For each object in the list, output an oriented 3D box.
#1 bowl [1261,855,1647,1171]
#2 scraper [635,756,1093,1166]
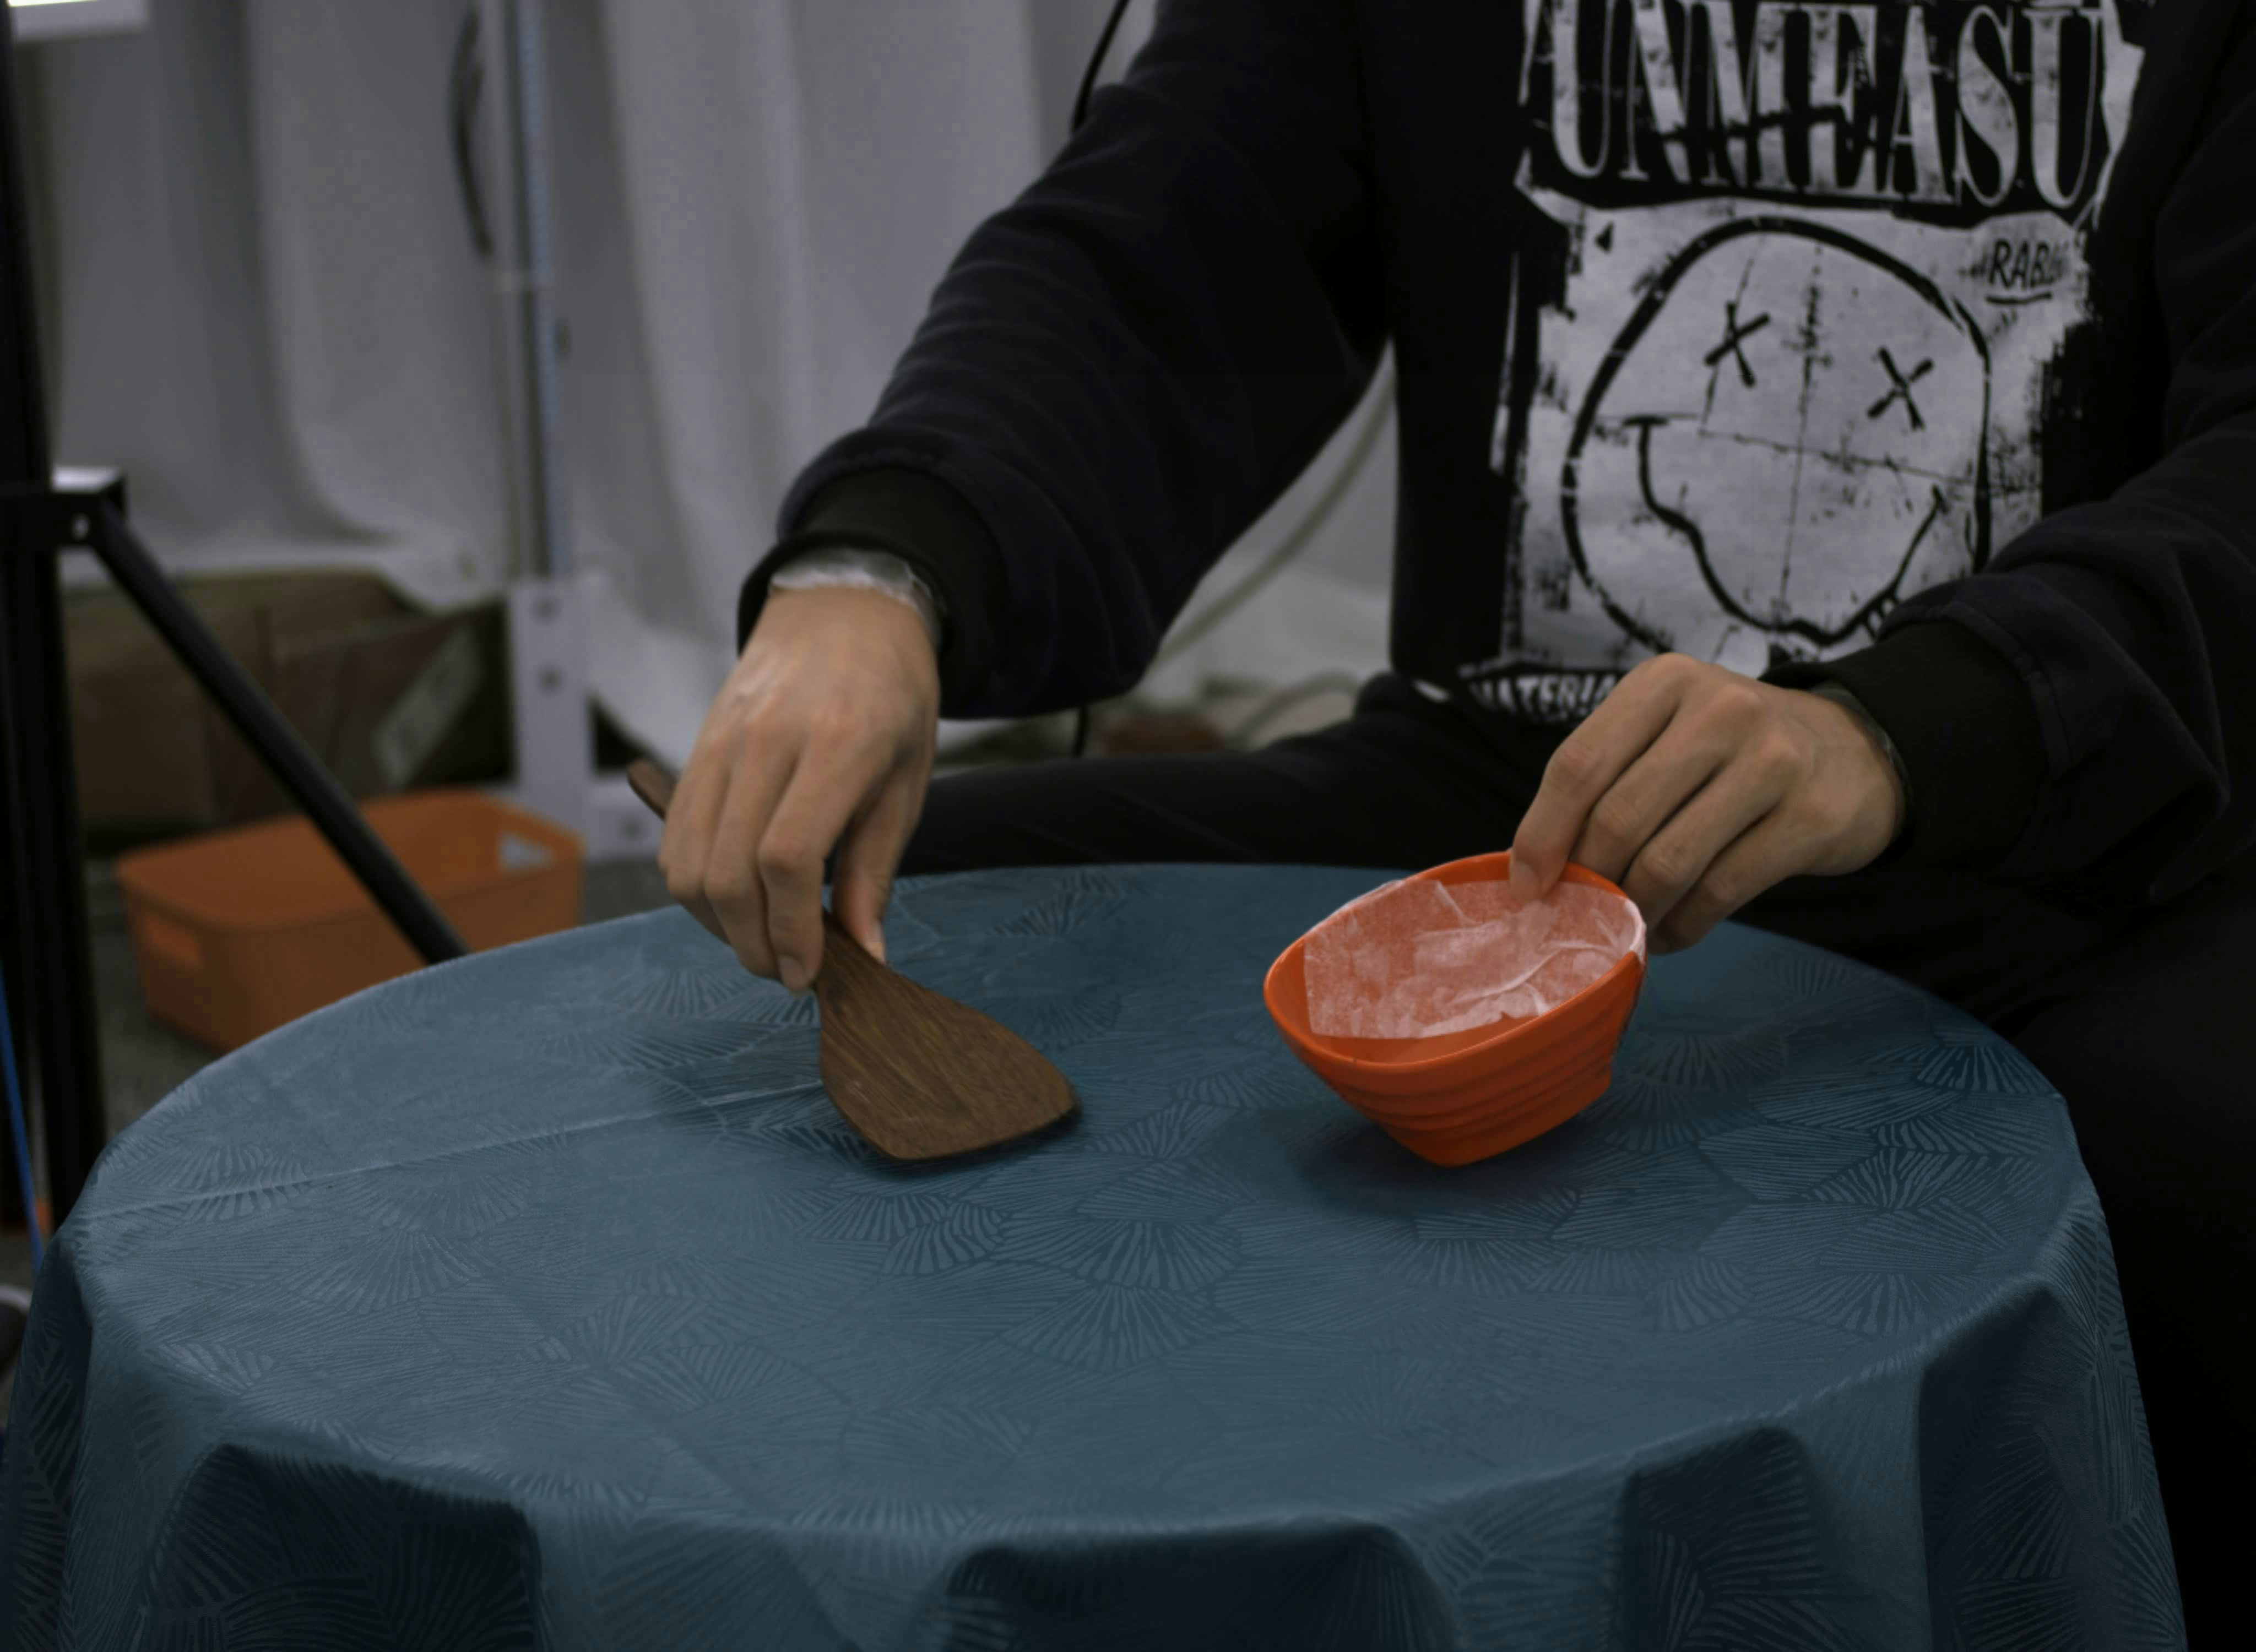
[{"bbox_3d":[0.103,0.061,1.585,0.119,0.051,0.120,-16,27,7],"label":"bowl"},{"bbox_3d":[-0.093,0.040,1.660,0.074,0.011,0.216,-14,42,-31],"label":"scraper"}]
